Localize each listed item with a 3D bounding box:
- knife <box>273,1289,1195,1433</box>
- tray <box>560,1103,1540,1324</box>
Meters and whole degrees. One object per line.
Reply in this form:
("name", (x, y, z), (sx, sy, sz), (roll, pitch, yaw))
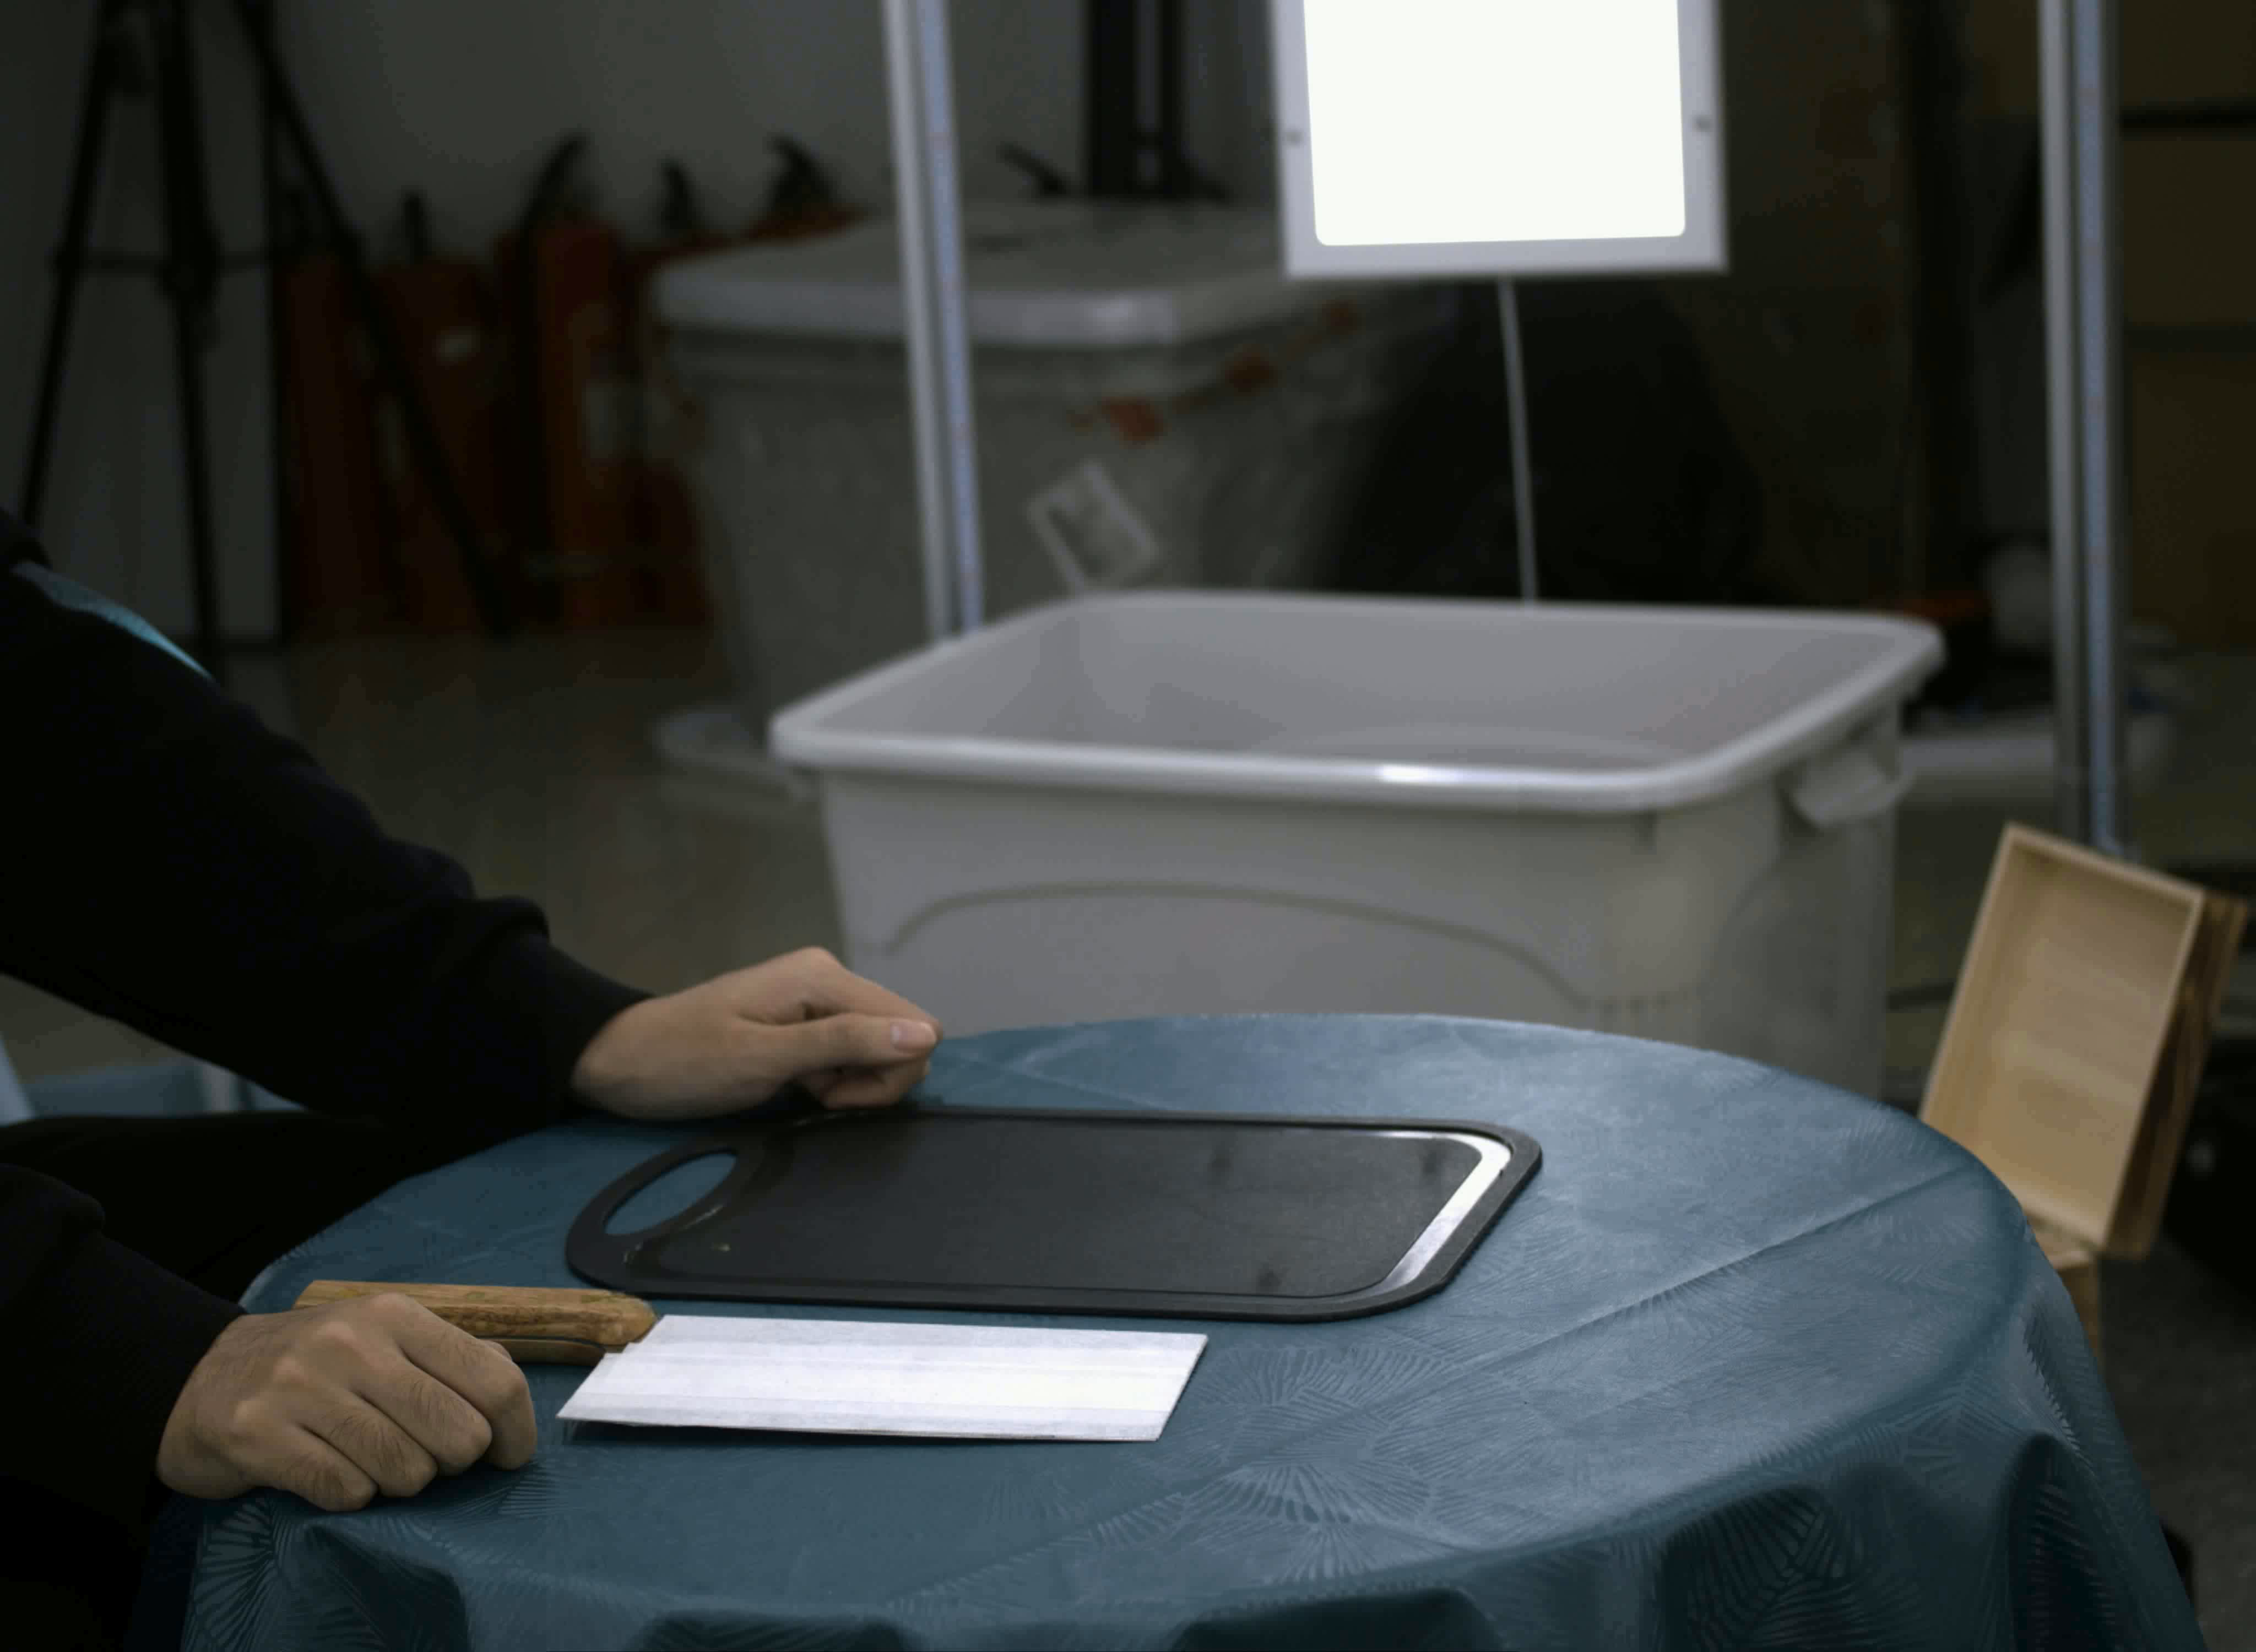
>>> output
("knife", (-0.131, 0.171, 1.735), (0.308, 0.021, 0.092), (1, 16, 14))
("tray", (-0.032, 0.128, 1.886), (0.330, 0.010, 0.207), (0, 15, 21))
